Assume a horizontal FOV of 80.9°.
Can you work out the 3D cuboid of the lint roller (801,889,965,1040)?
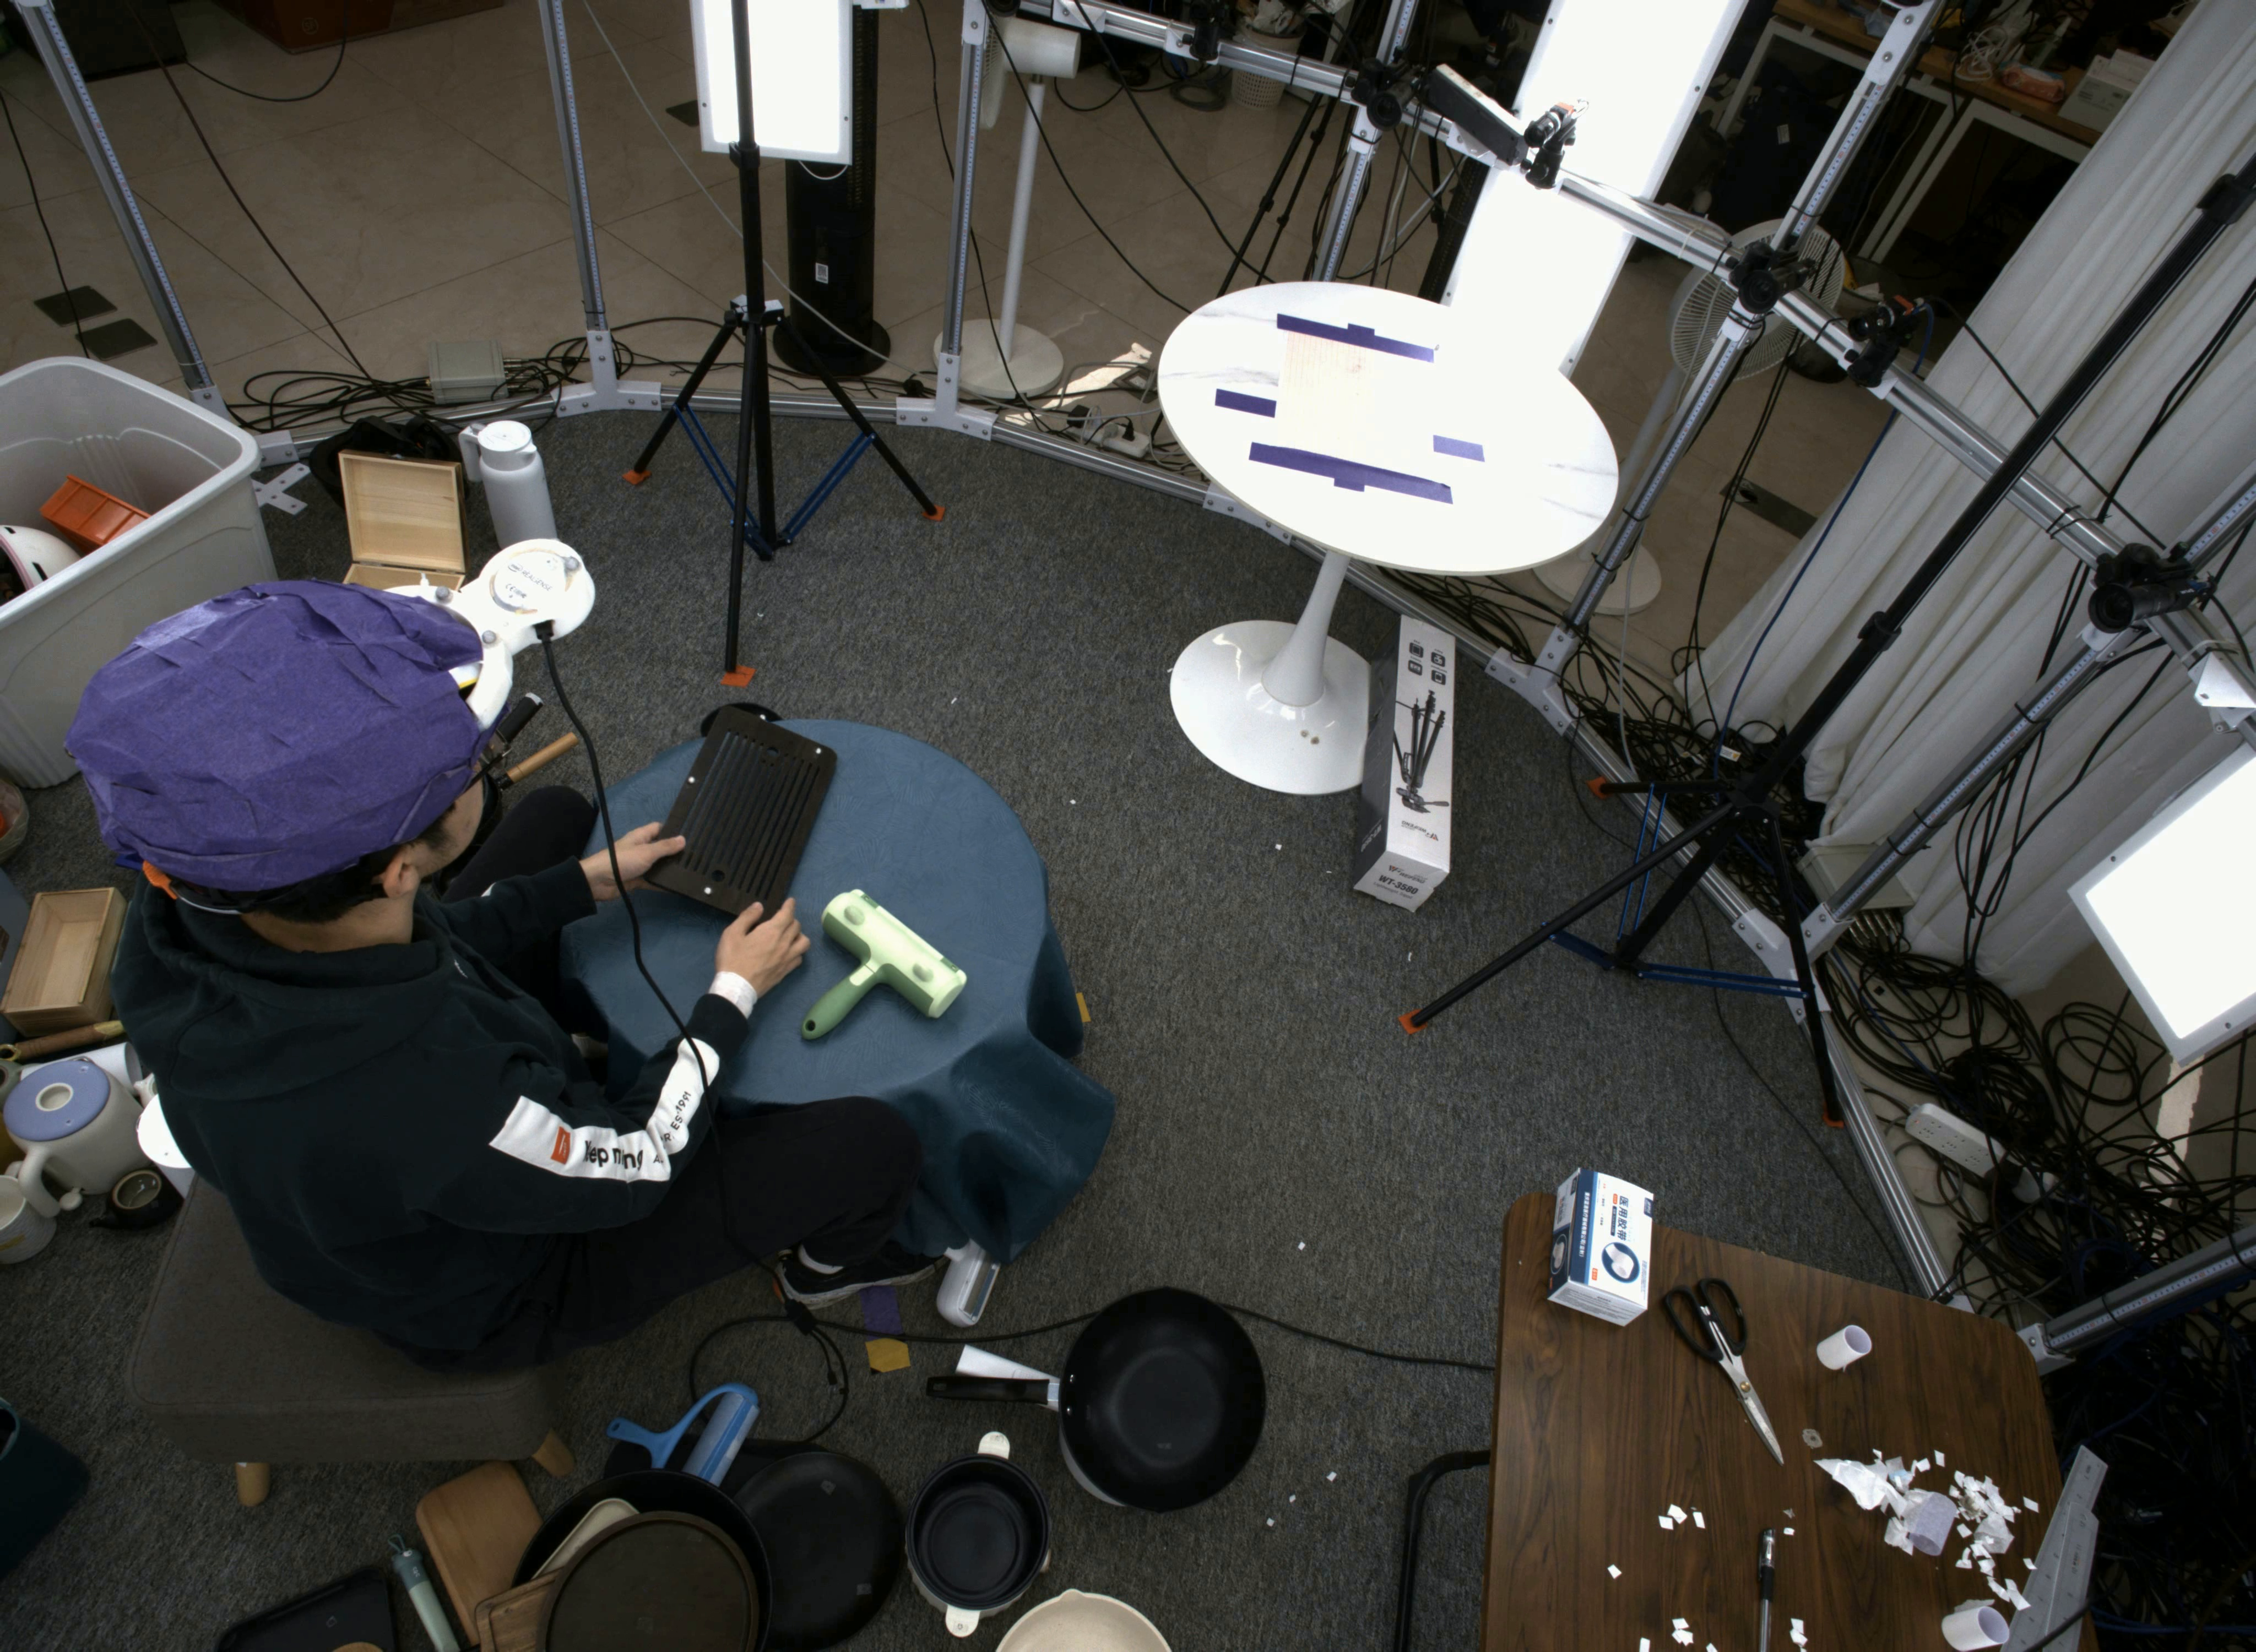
[{"bbox_3d":[-0.326,0.180,1.572,0.195,0.084,0.183,37,51,14],"label":"lint roller"}]

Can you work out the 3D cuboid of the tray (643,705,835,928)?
[{"bbox_3d":[-0.501,-0.017,1.681,0.172,0.018,0.301,24,49,-17],"label":"tray"}]
